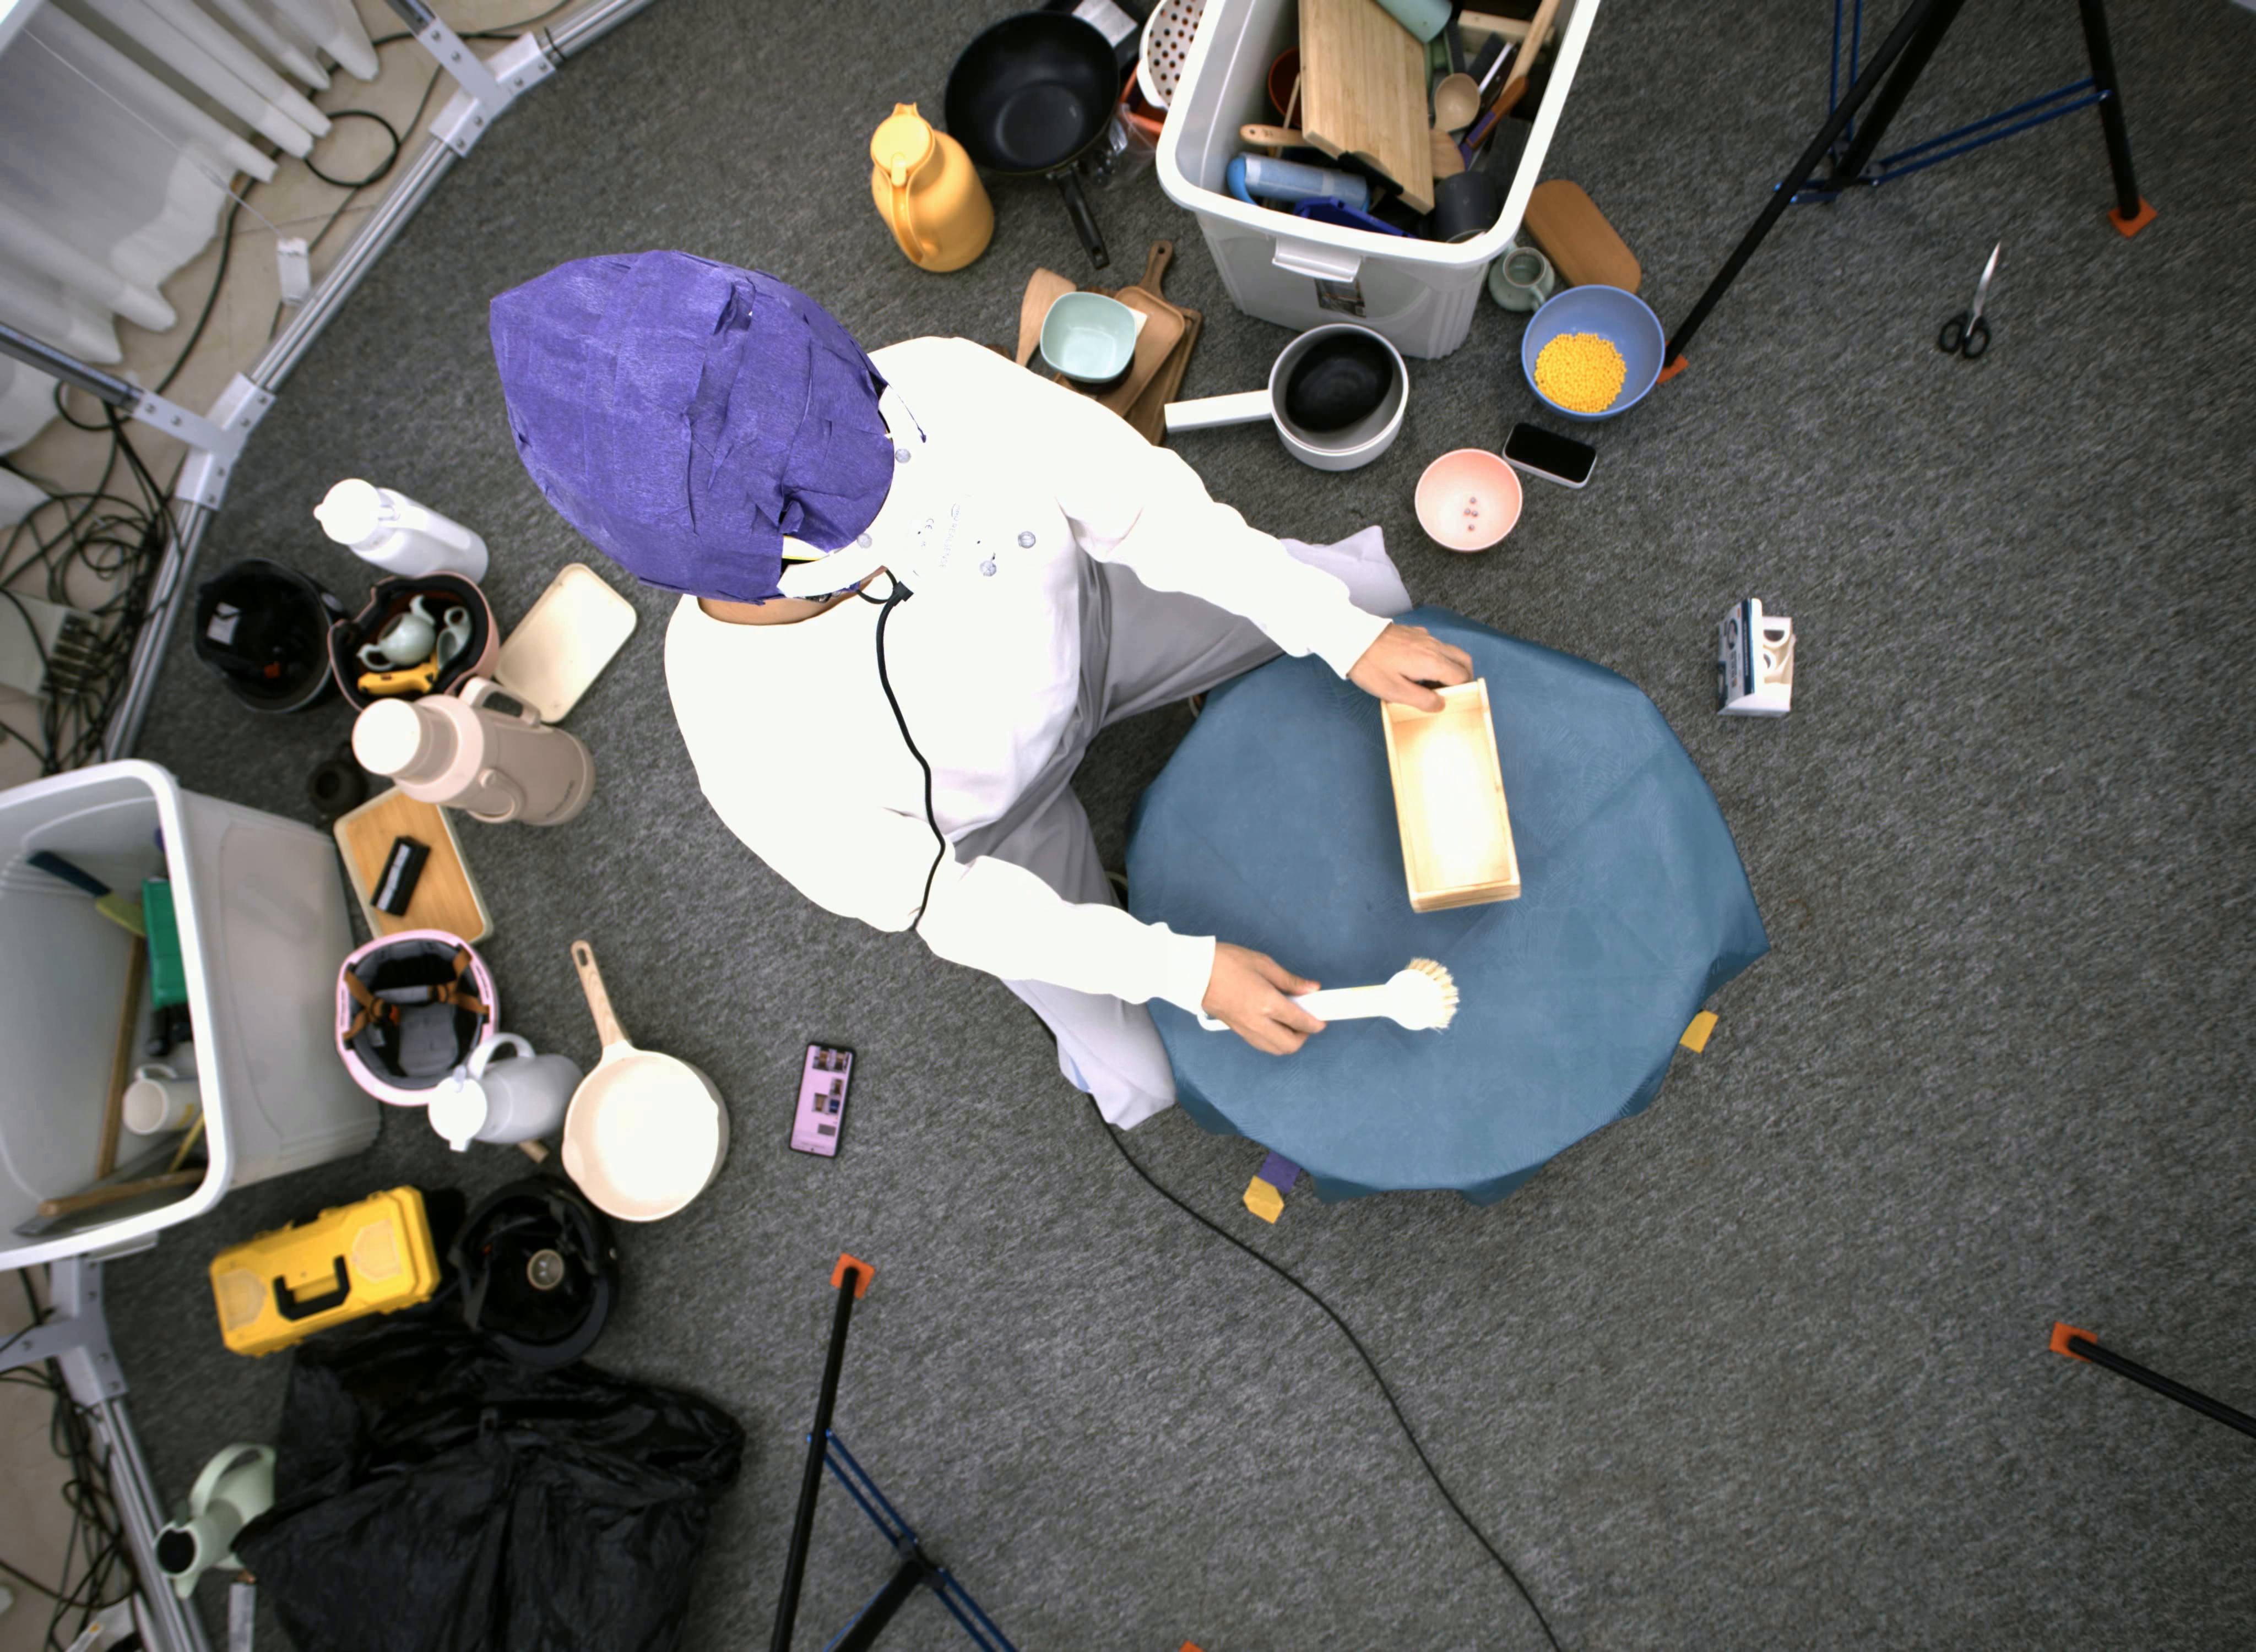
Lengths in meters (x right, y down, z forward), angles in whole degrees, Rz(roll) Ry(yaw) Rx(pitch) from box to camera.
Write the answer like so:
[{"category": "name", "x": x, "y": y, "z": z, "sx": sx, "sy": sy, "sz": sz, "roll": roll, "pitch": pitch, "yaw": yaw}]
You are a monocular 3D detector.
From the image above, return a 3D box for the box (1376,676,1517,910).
[{"category": "box", "x": 0.319, "y": -0.032, "z": 1.376, "sx": 0.108, "sy": 0.080, "sz": 0.209, "roll": -9, "pitch": 77, "yaw": 15}]

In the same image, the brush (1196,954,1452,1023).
[{"category": "brush", "x": 0.198, "y": 0.172, "z": 1.408, "sx": 0.269, "sy": 0.056, "sz": 0.068, "roll": -9, "pitch": 85, "yaw": 31}]
